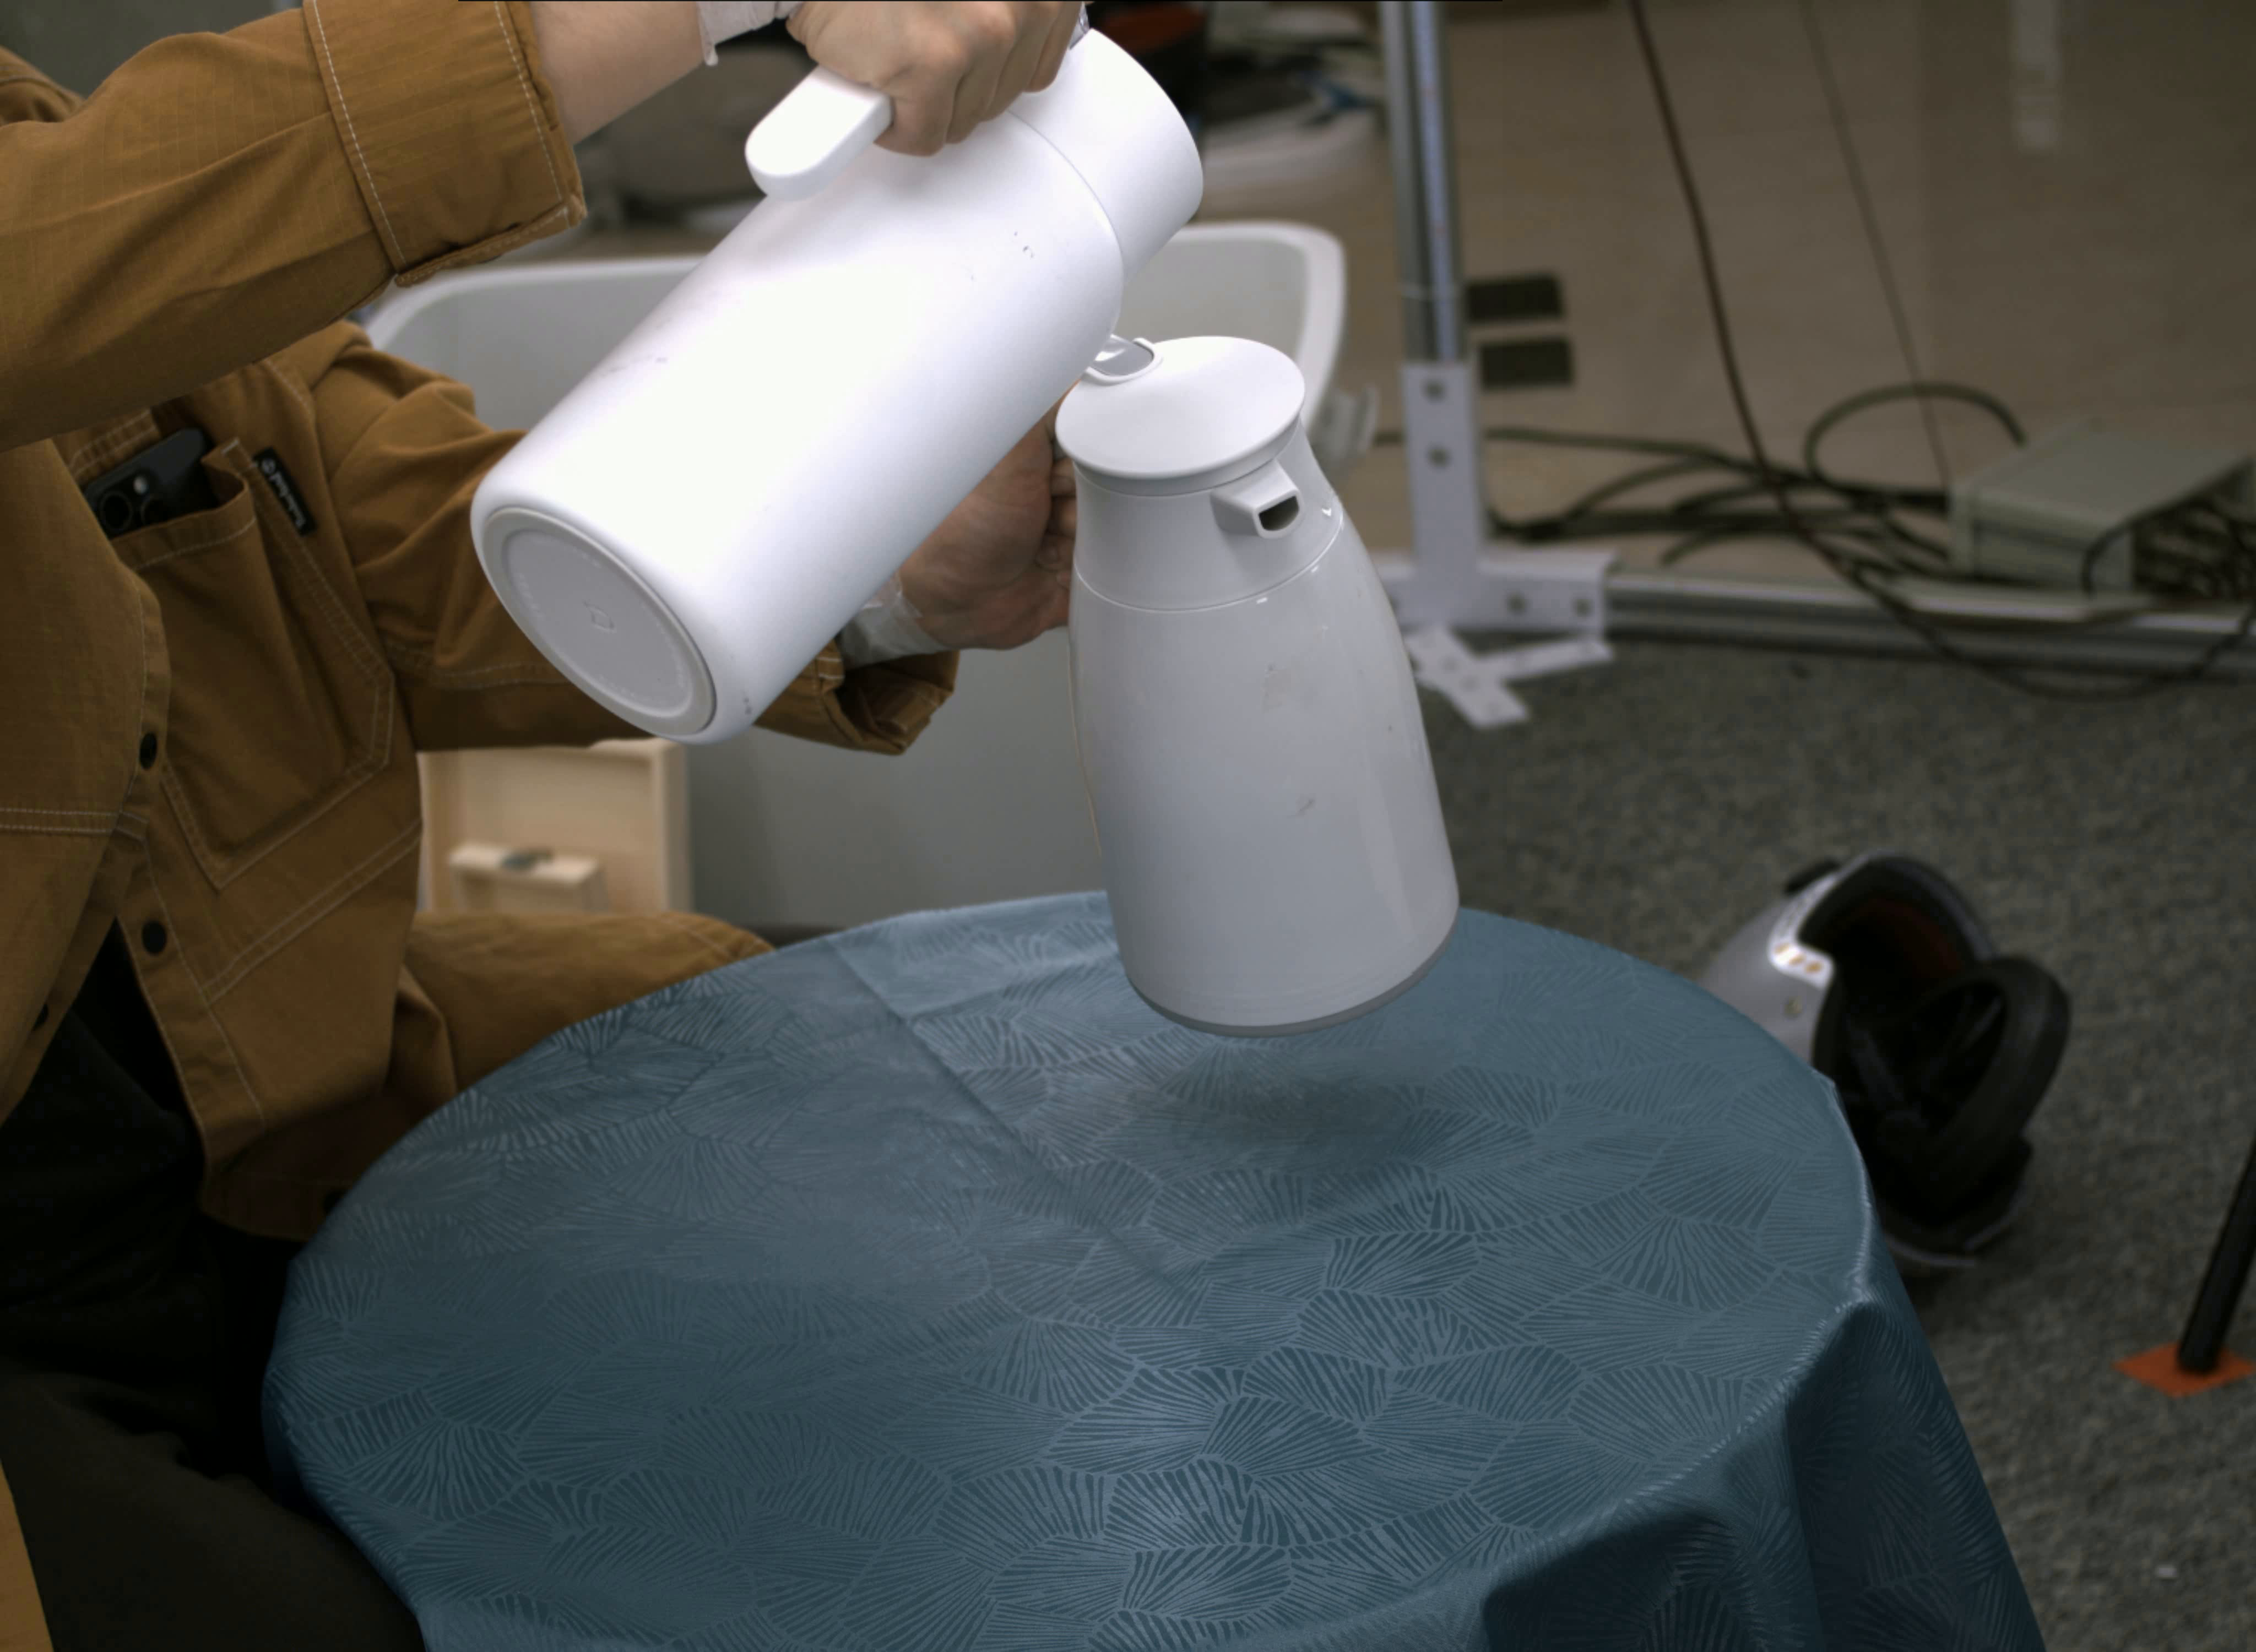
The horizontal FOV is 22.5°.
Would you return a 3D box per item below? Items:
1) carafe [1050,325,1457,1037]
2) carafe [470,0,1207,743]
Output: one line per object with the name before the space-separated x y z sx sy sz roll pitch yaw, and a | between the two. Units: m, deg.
carafe | 0.029 -0.066 2.105 0.132 0.253 0.165 -28 38 -20
carafe | -0.094 -0.165 1.862 0.122 0.176 0.266 30 63 29
